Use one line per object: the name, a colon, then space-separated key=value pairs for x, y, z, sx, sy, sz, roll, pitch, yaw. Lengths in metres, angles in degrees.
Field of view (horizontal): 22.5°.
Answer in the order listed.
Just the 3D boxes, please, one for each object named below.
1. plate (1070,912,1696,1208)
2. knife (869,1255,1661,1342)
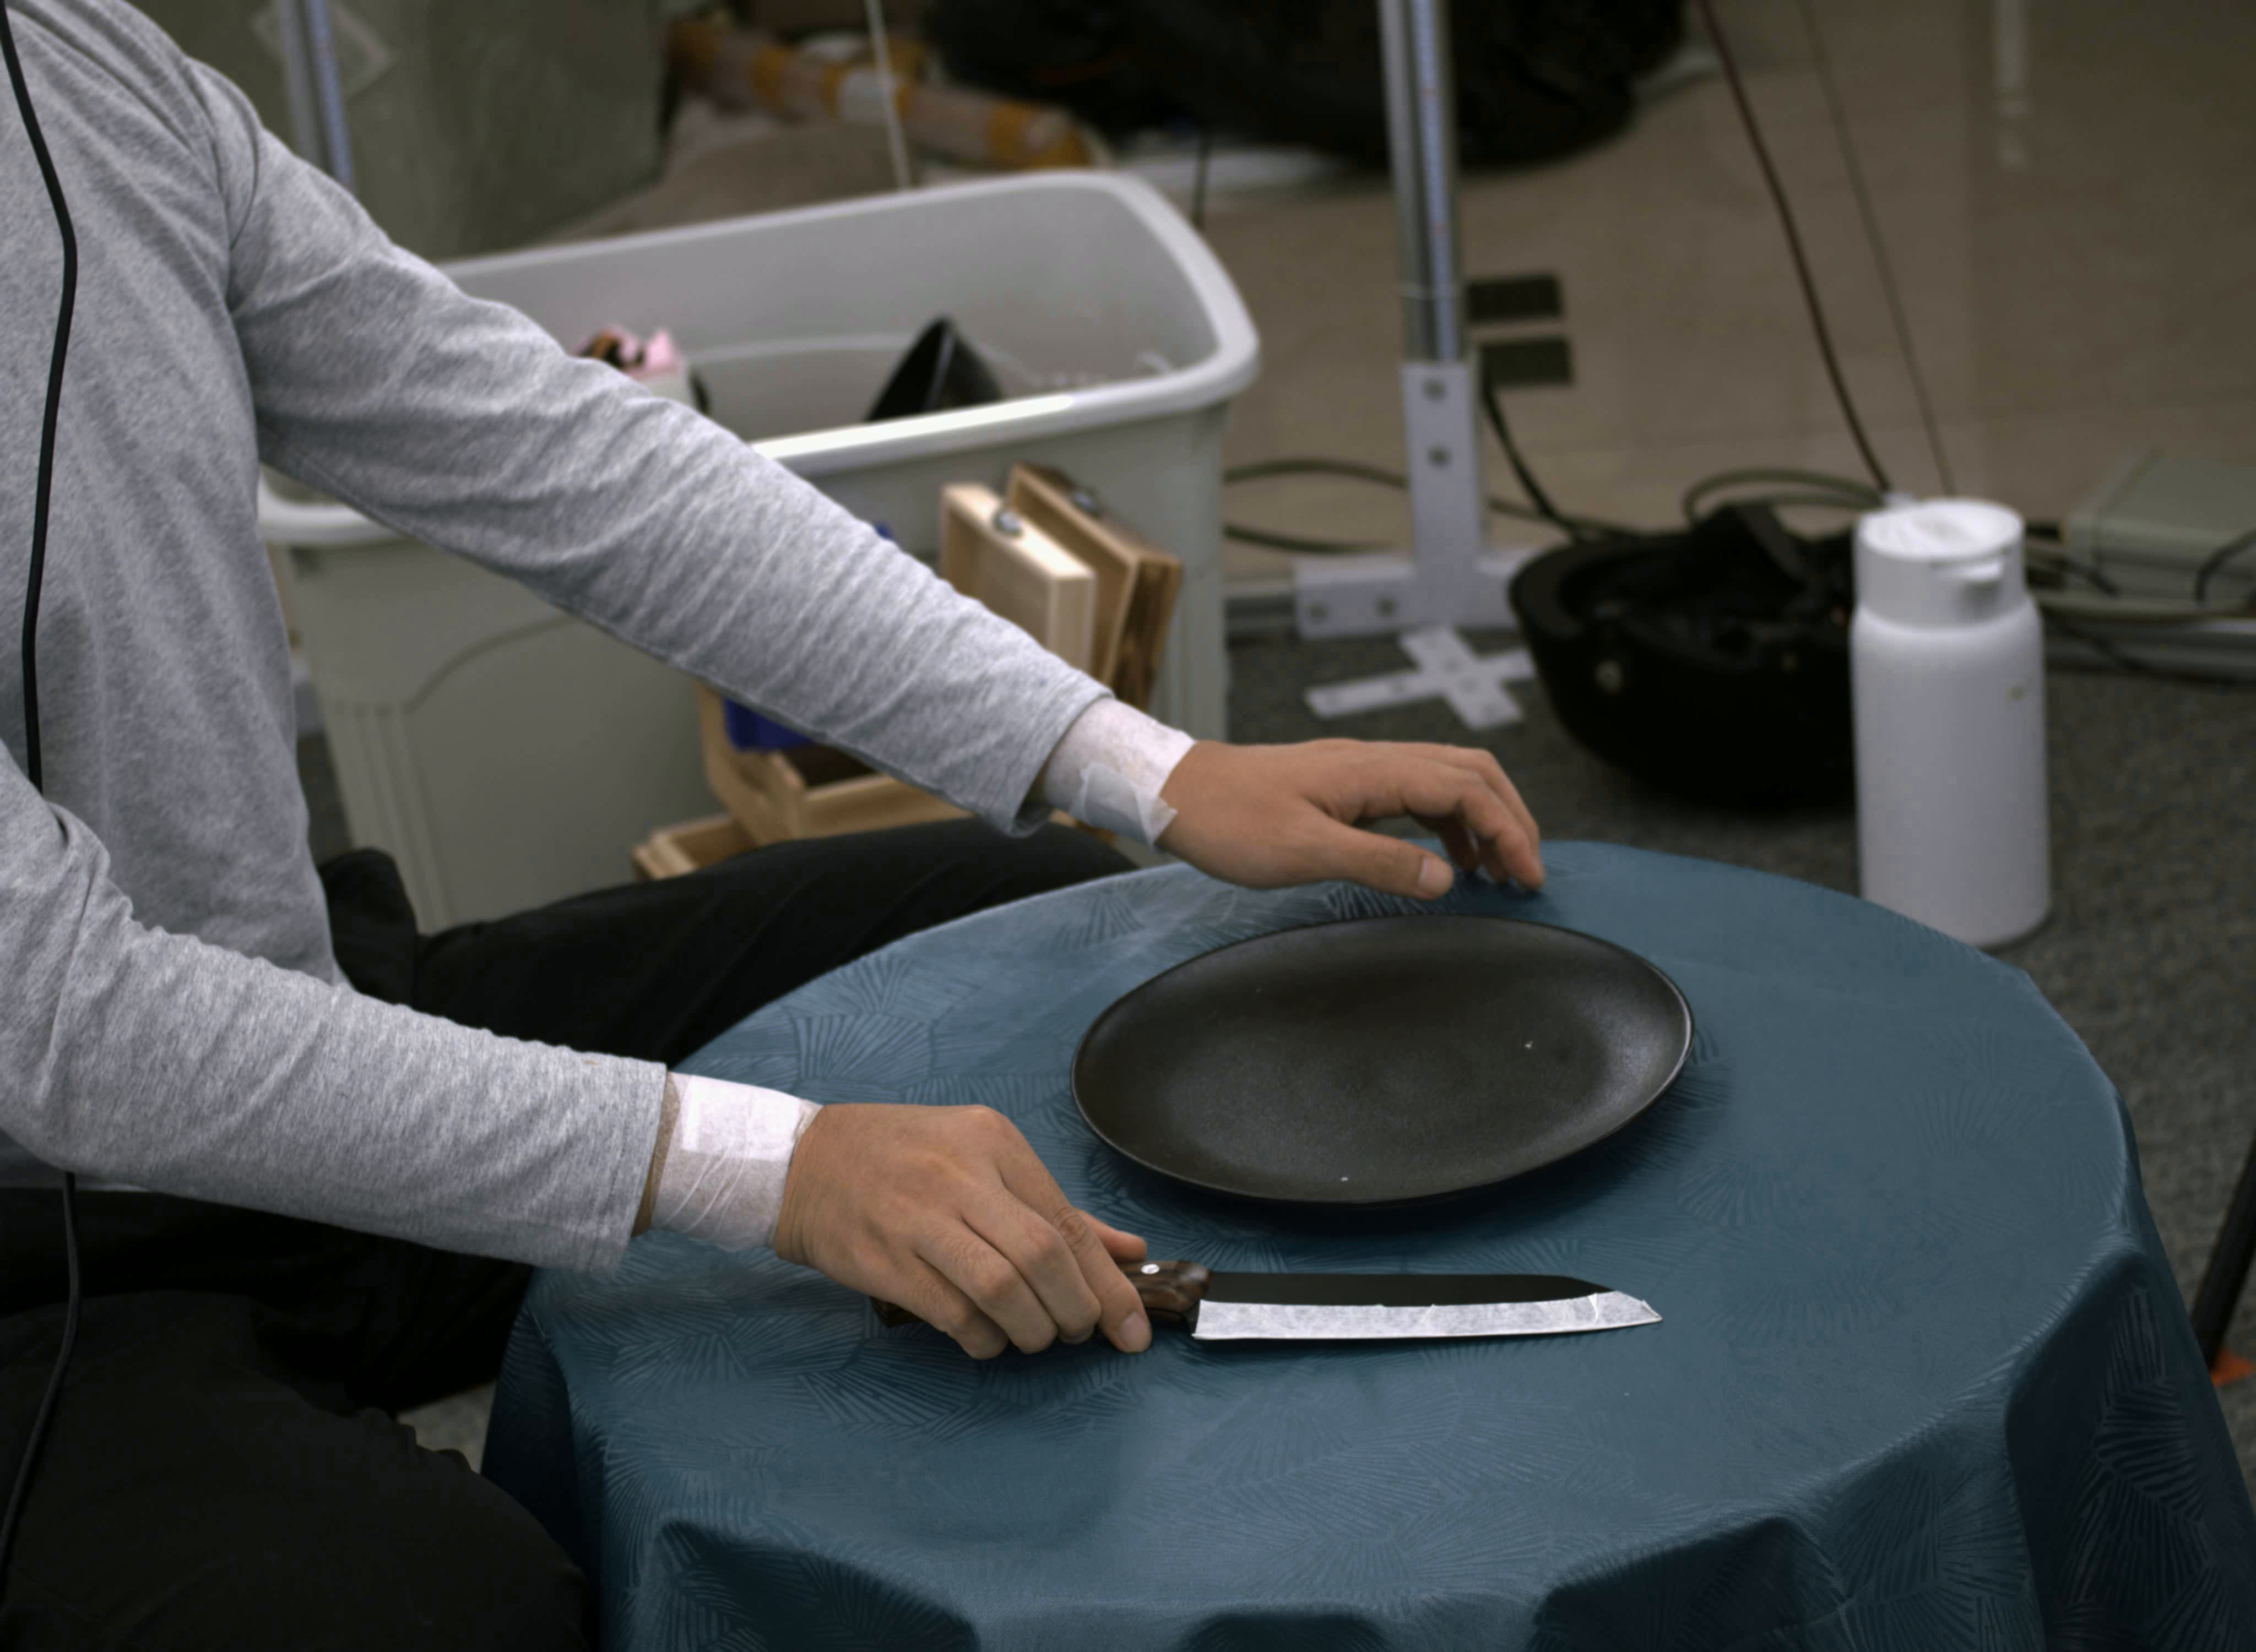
plate: x=0.099 y=0.095 z=2.194 sx=0.244 sy=0.024 sz=0.241 roll=-6 pitch=25 yaw=3
knife: x=0.048 y=0.172 z=2.047 sx=0.288 sy=0.020 sz=0.049 roll=1 pitch=30 yaw=8
